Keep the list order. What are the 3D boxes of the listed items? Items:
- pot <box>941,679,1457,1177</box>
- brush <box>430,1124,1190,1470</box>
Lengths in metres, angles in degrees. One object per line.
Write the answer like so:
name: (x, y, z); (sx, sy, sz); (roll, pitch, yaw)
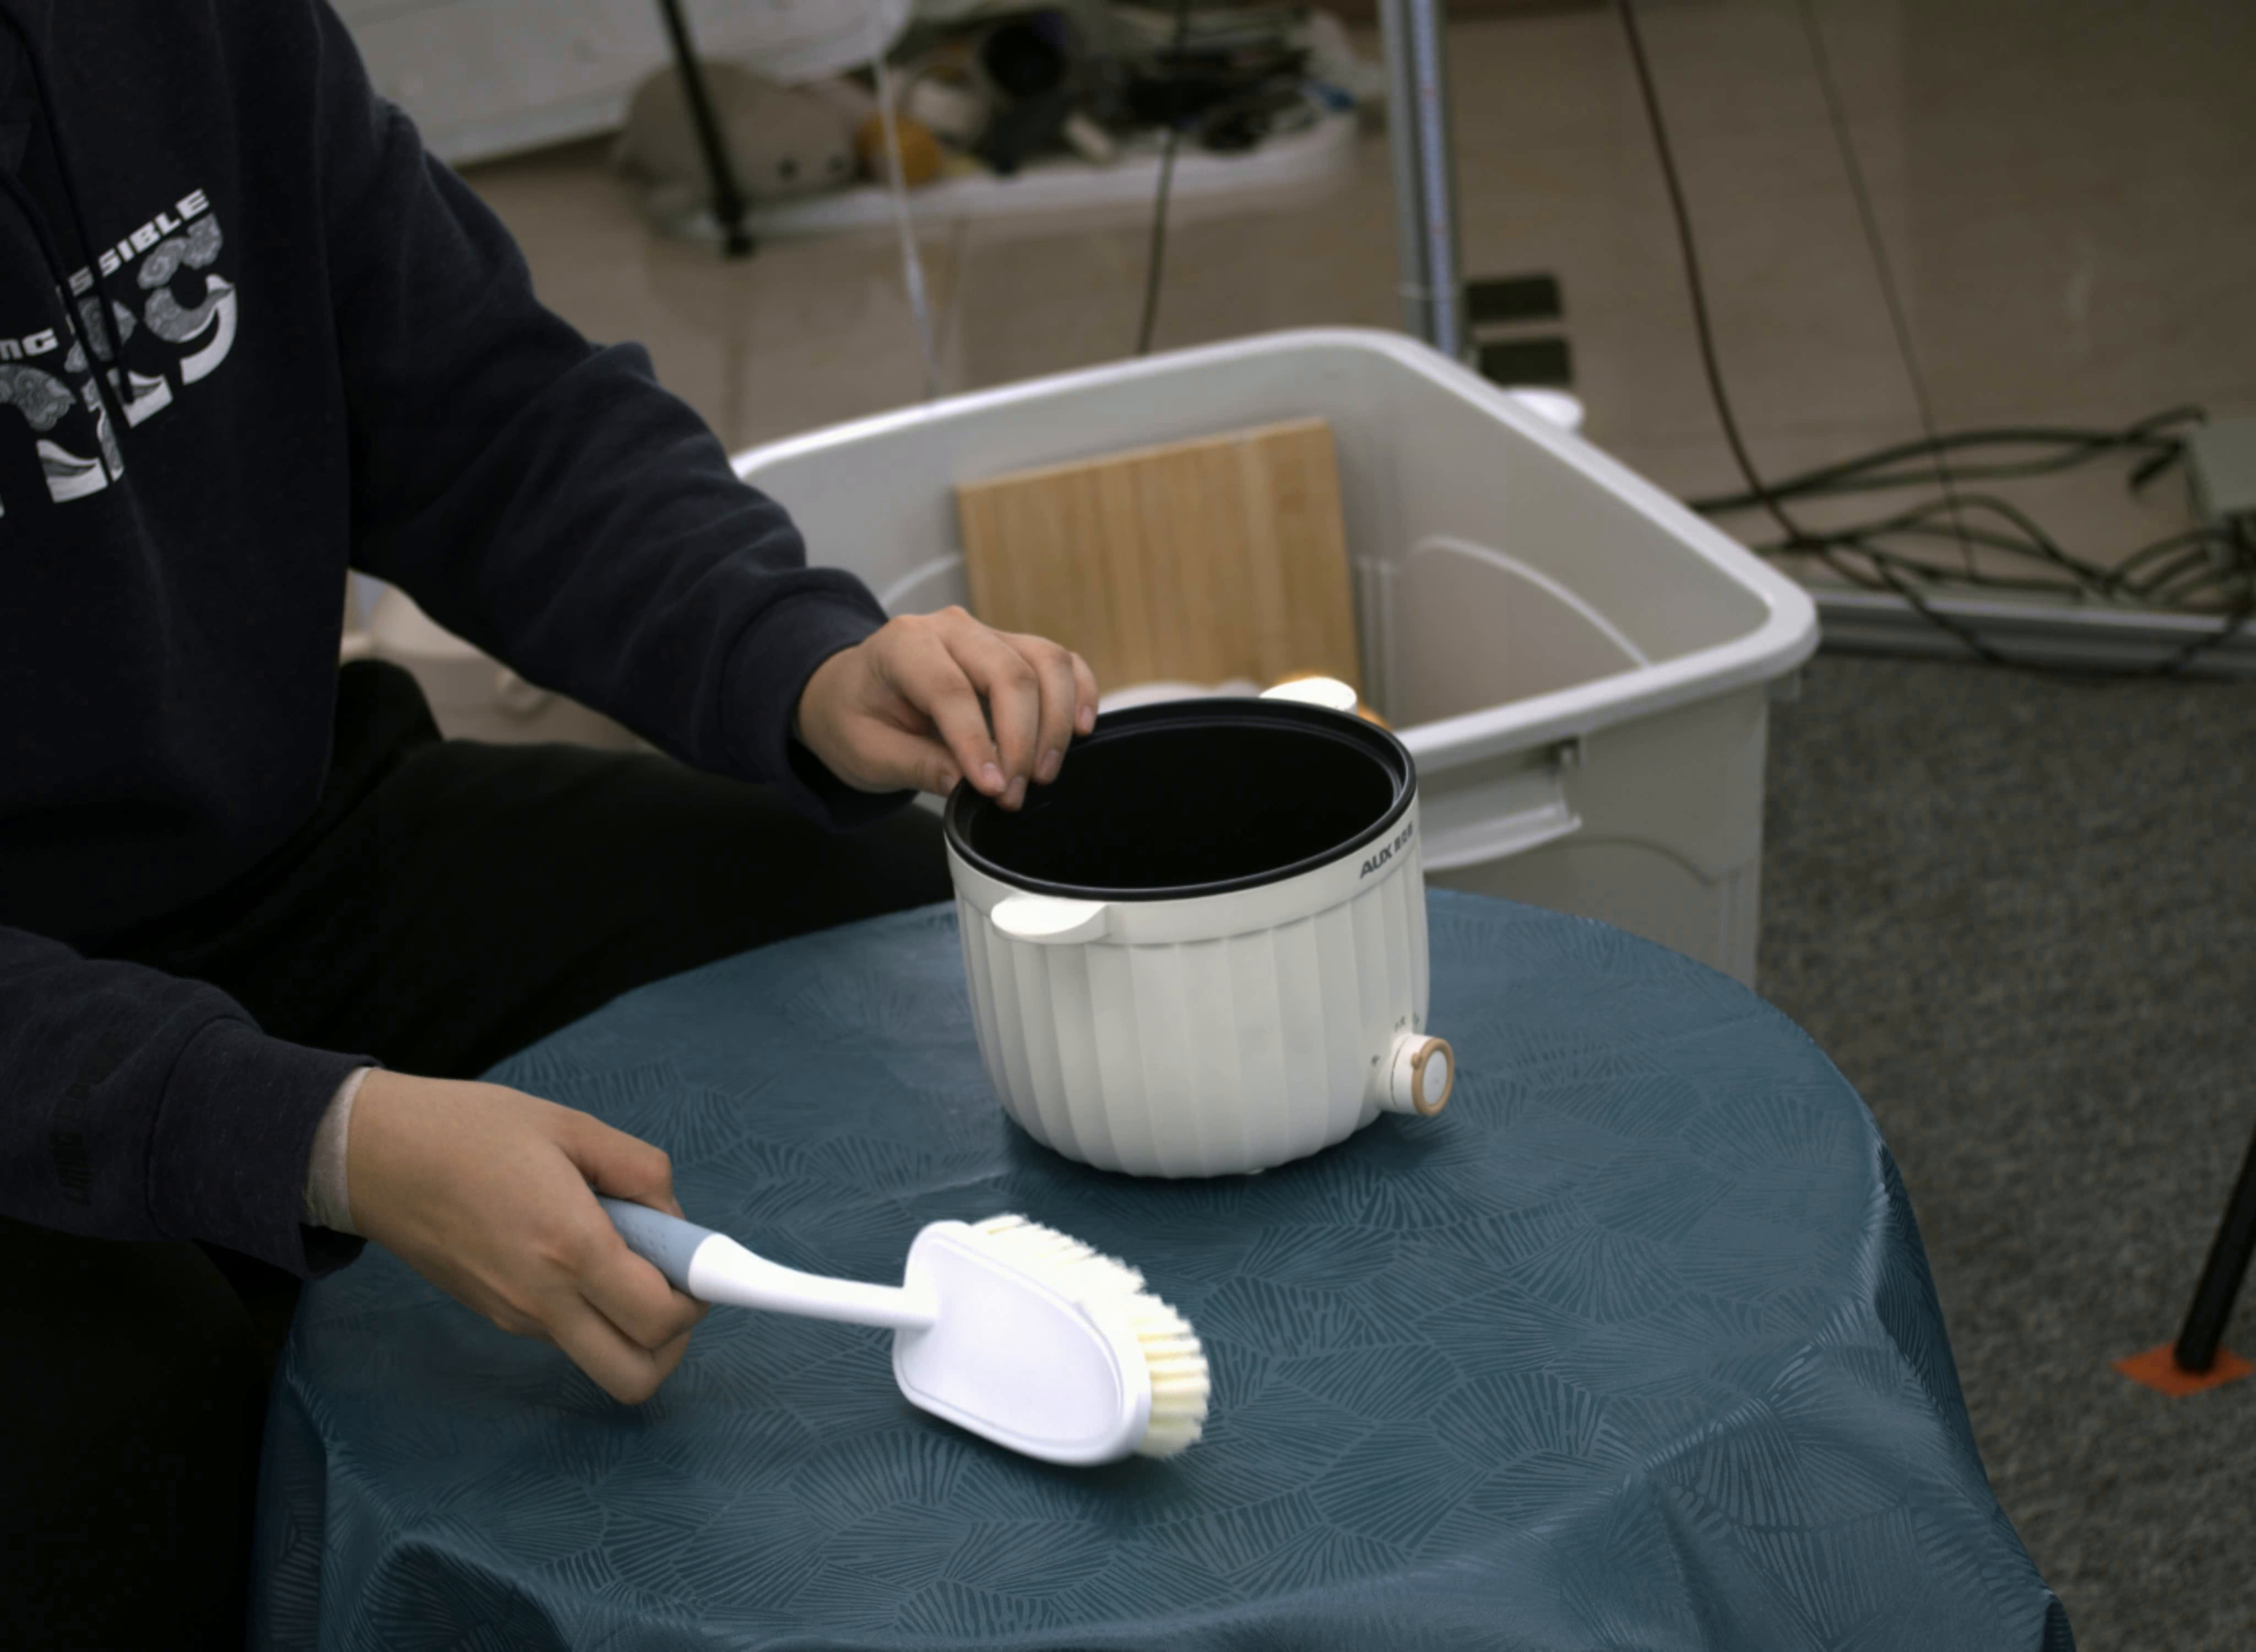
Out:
pot: (0.031, 0.047, 2.173); (0.190, 0.145, 0.237); (6, 28, 31)
brush: (-0.108, 0.154, 2.027); (0.323, 0.086, 0.082); (18, 70, 31)
